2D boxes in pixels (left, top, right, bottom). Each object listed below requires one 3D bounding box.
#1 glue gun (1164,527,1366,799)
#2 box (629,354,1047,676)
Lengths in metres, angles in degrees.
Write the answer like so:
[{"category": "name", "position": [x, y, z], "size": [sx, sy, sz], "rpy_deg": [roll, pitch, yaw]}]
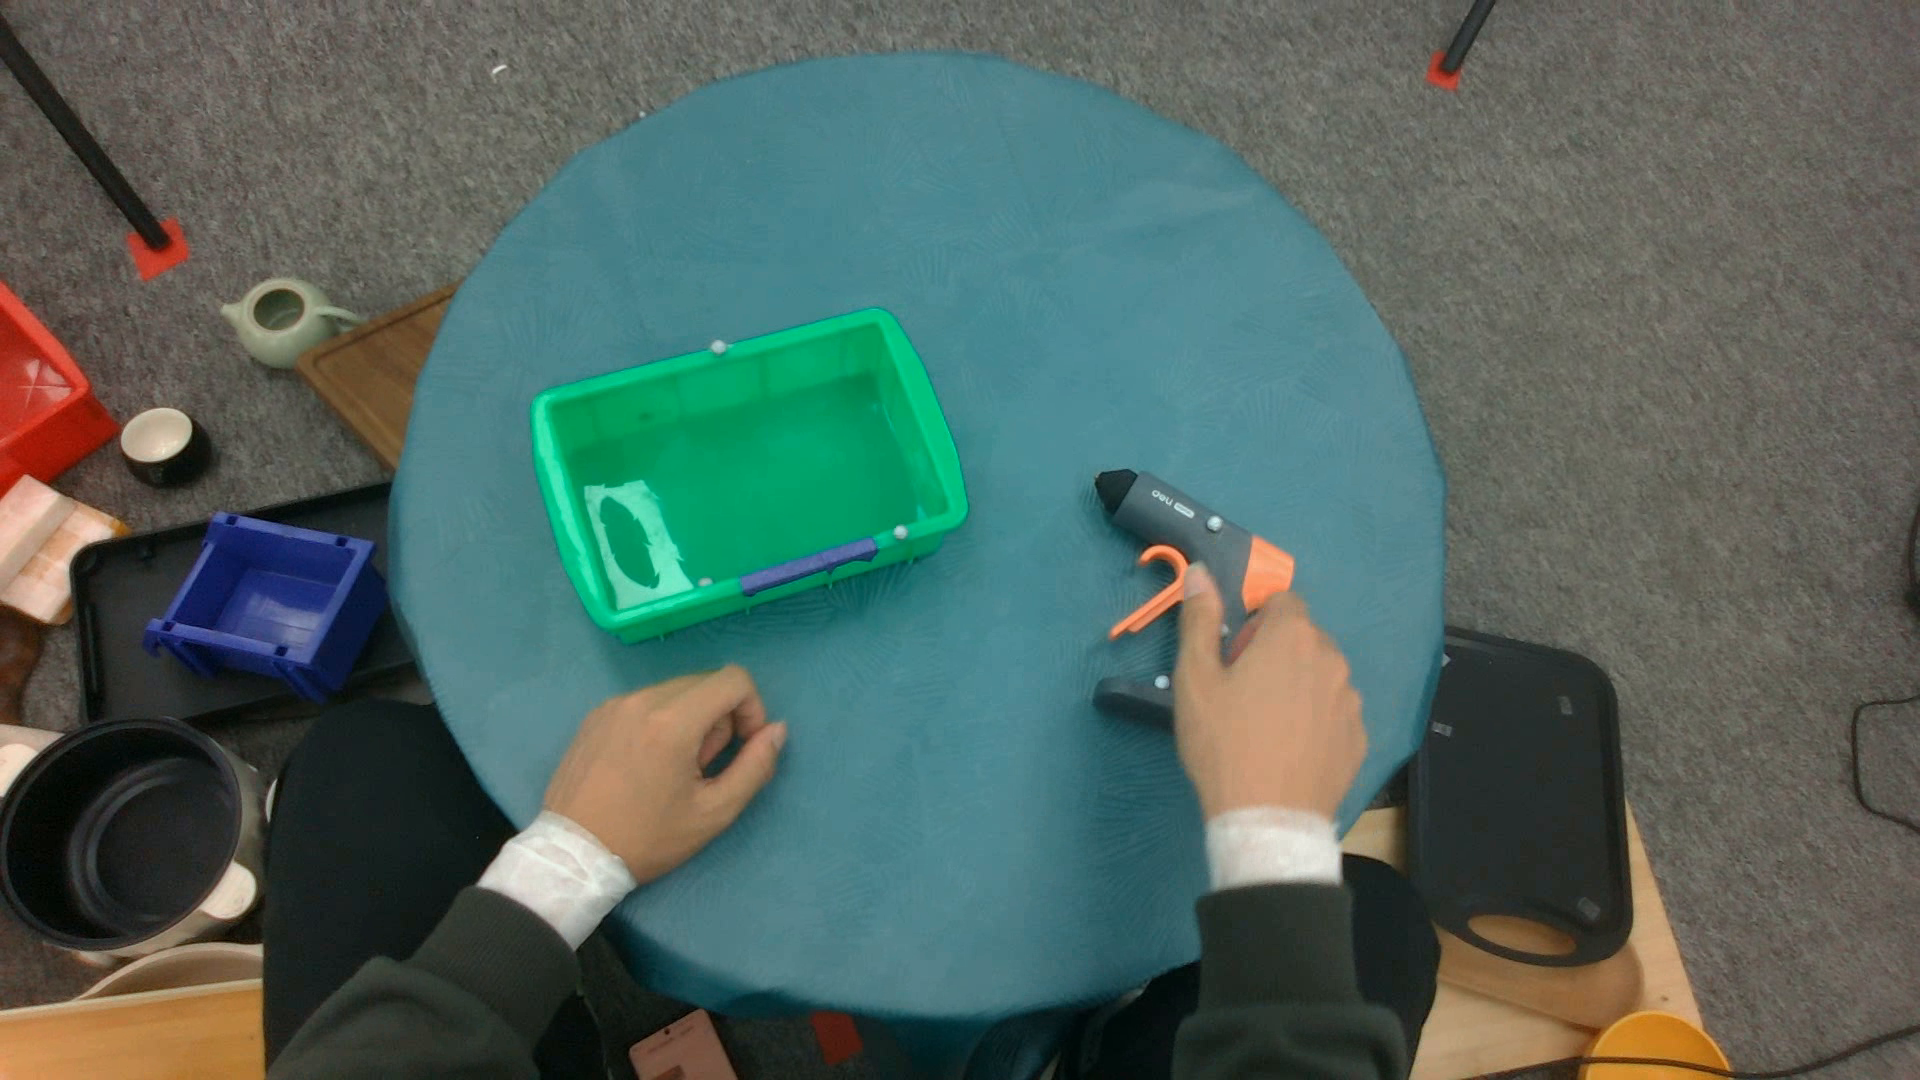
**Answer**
[{"category": "glue gun", "position": [0.159, 0.064, 0.766], "size": [0.118, 0.041, 0.140], "rpy_deg": [15, 64, 5]}, {"category": "box", "position": [-0.068, -0.011, 0.766], "size": [0.211, 0.065, 0.139], "rpy_deg": [-15, 69, -13]}]
